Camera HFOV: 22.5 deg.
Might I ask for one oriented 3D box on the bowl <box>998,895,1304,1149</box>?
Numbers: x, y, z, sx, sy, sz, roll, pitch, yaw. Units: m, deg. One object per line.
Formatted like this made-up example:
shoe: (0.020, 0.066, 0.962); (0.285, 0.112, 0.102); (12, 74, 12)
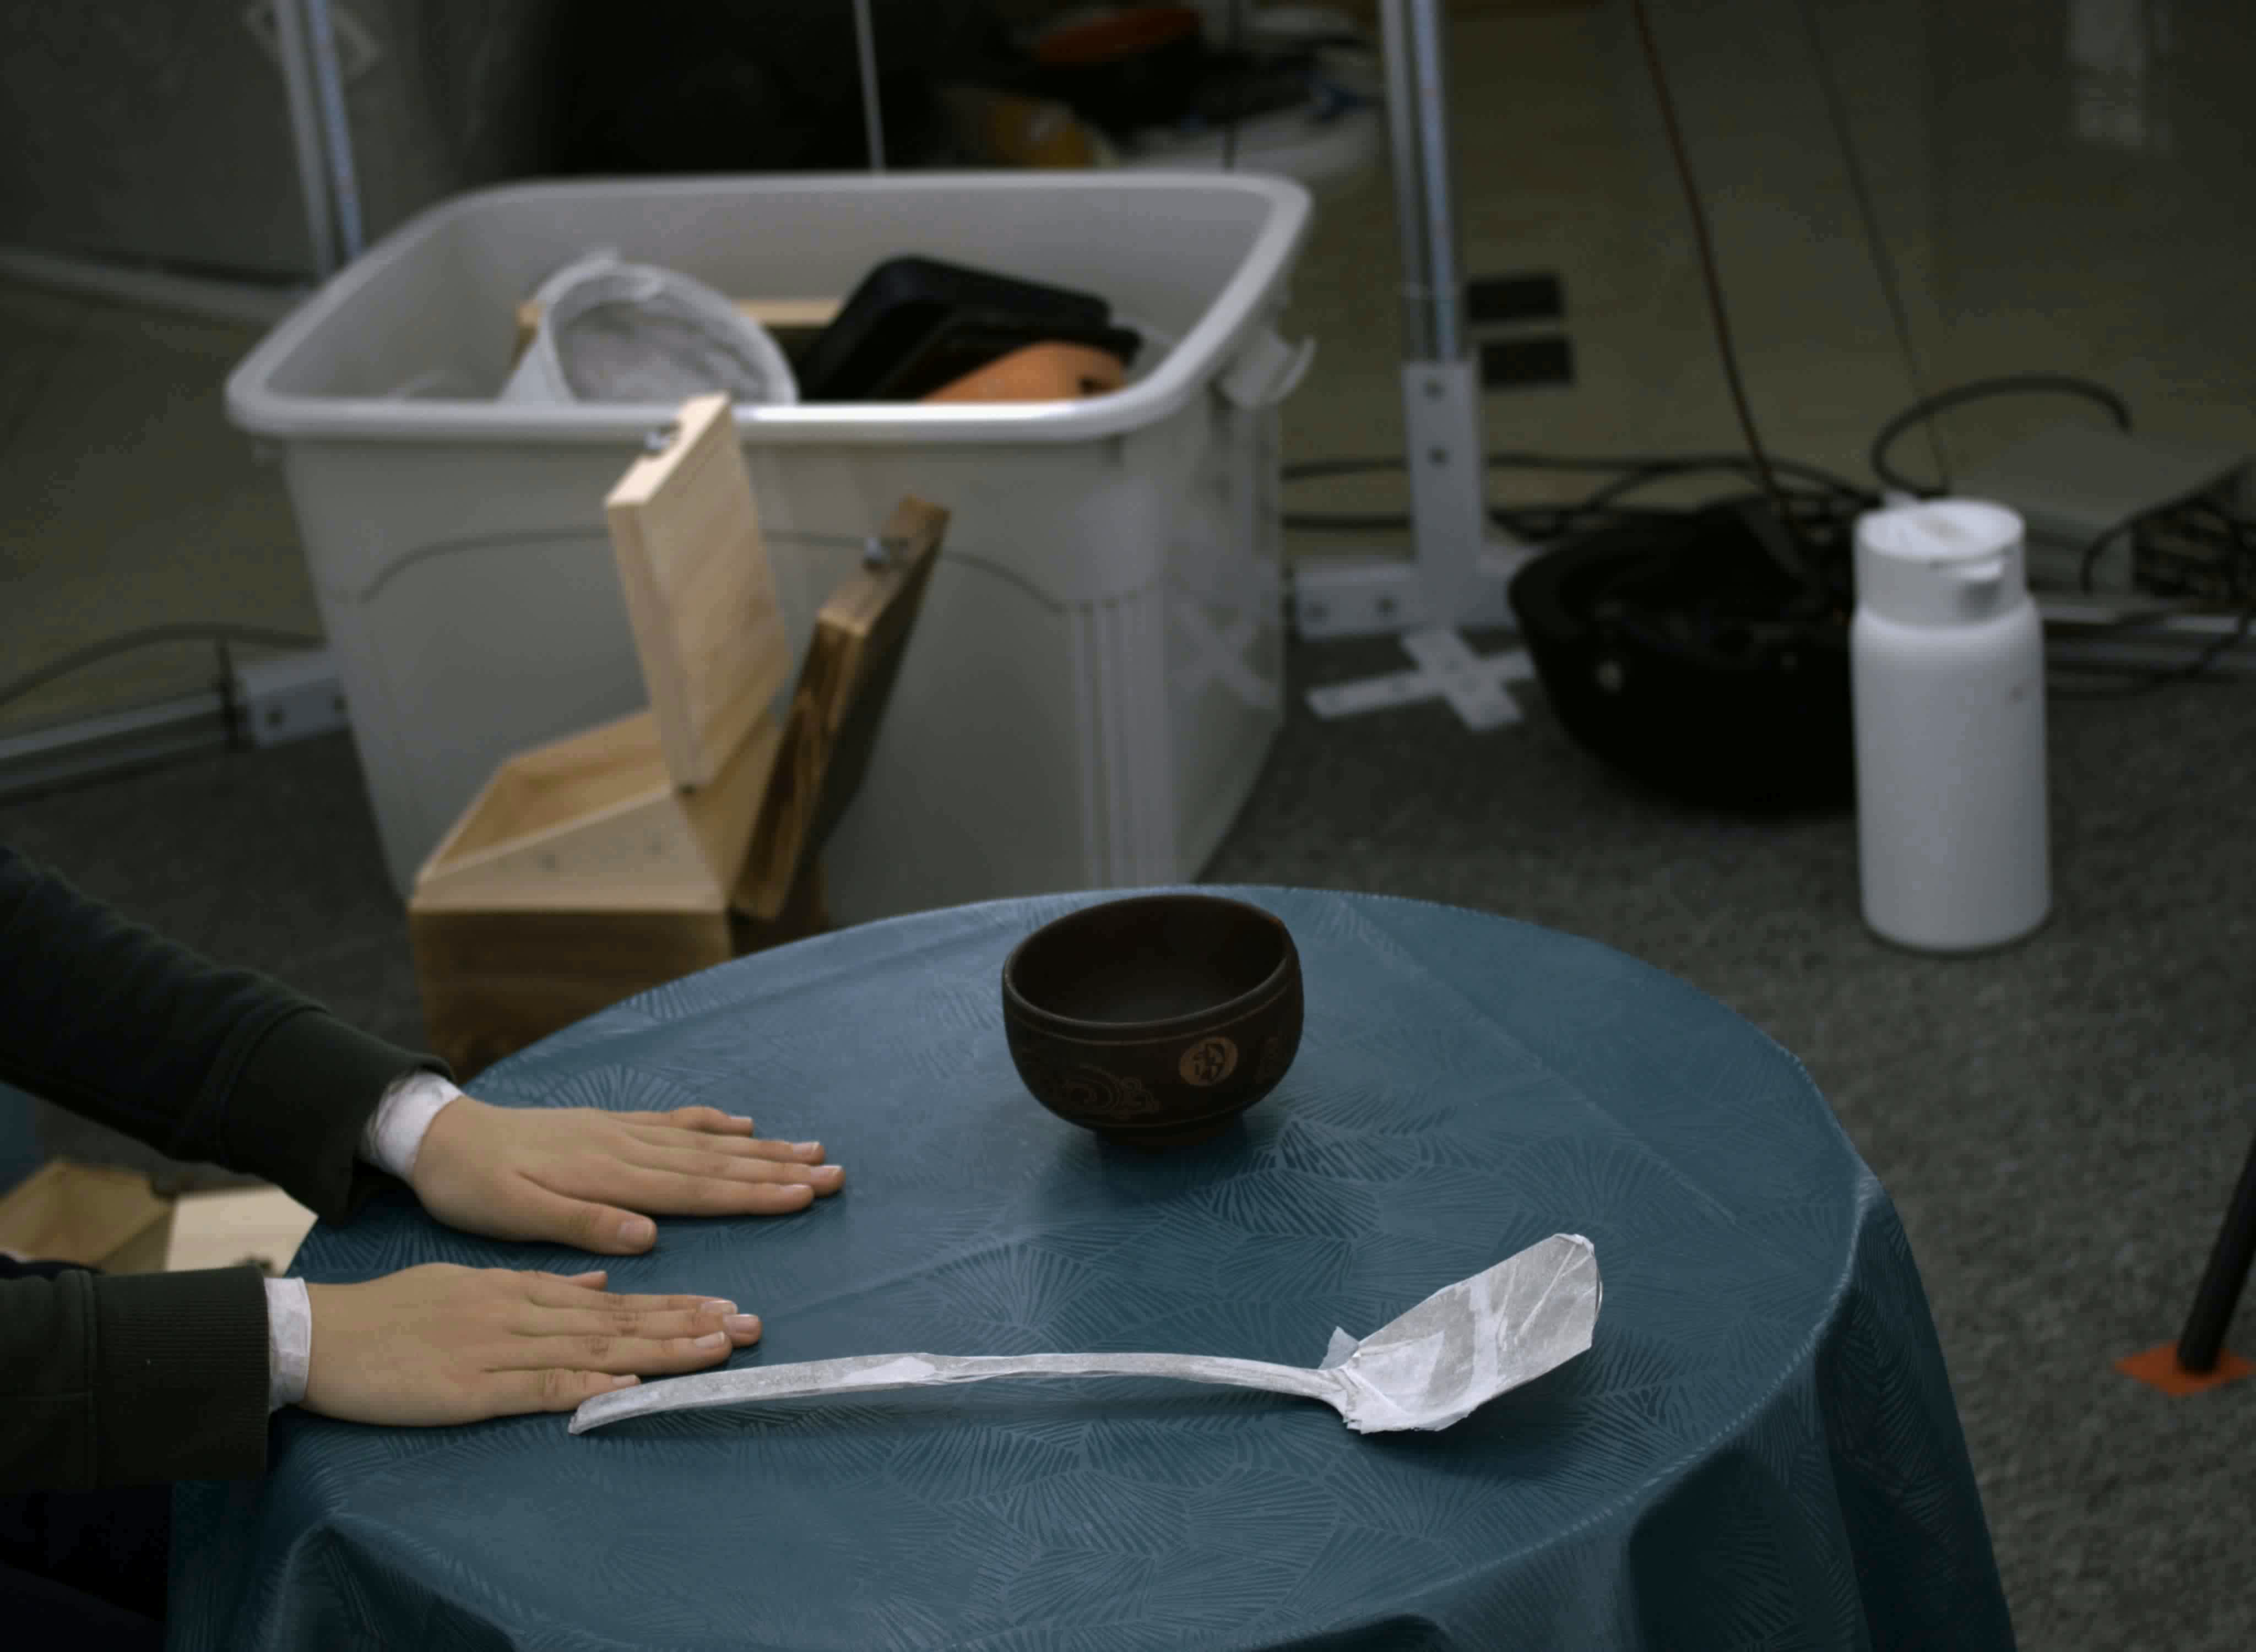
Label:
bowl: (0.011, 0.081, 2.188); (0.118, 0.071, 0.116); (-6, 24, 3)

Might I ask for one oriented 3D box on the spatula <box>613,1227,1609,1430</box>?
spatula: (-0.011, 0.186, 2.008); (0.364, 0.045, 0.097); (-2, 27, 9)
